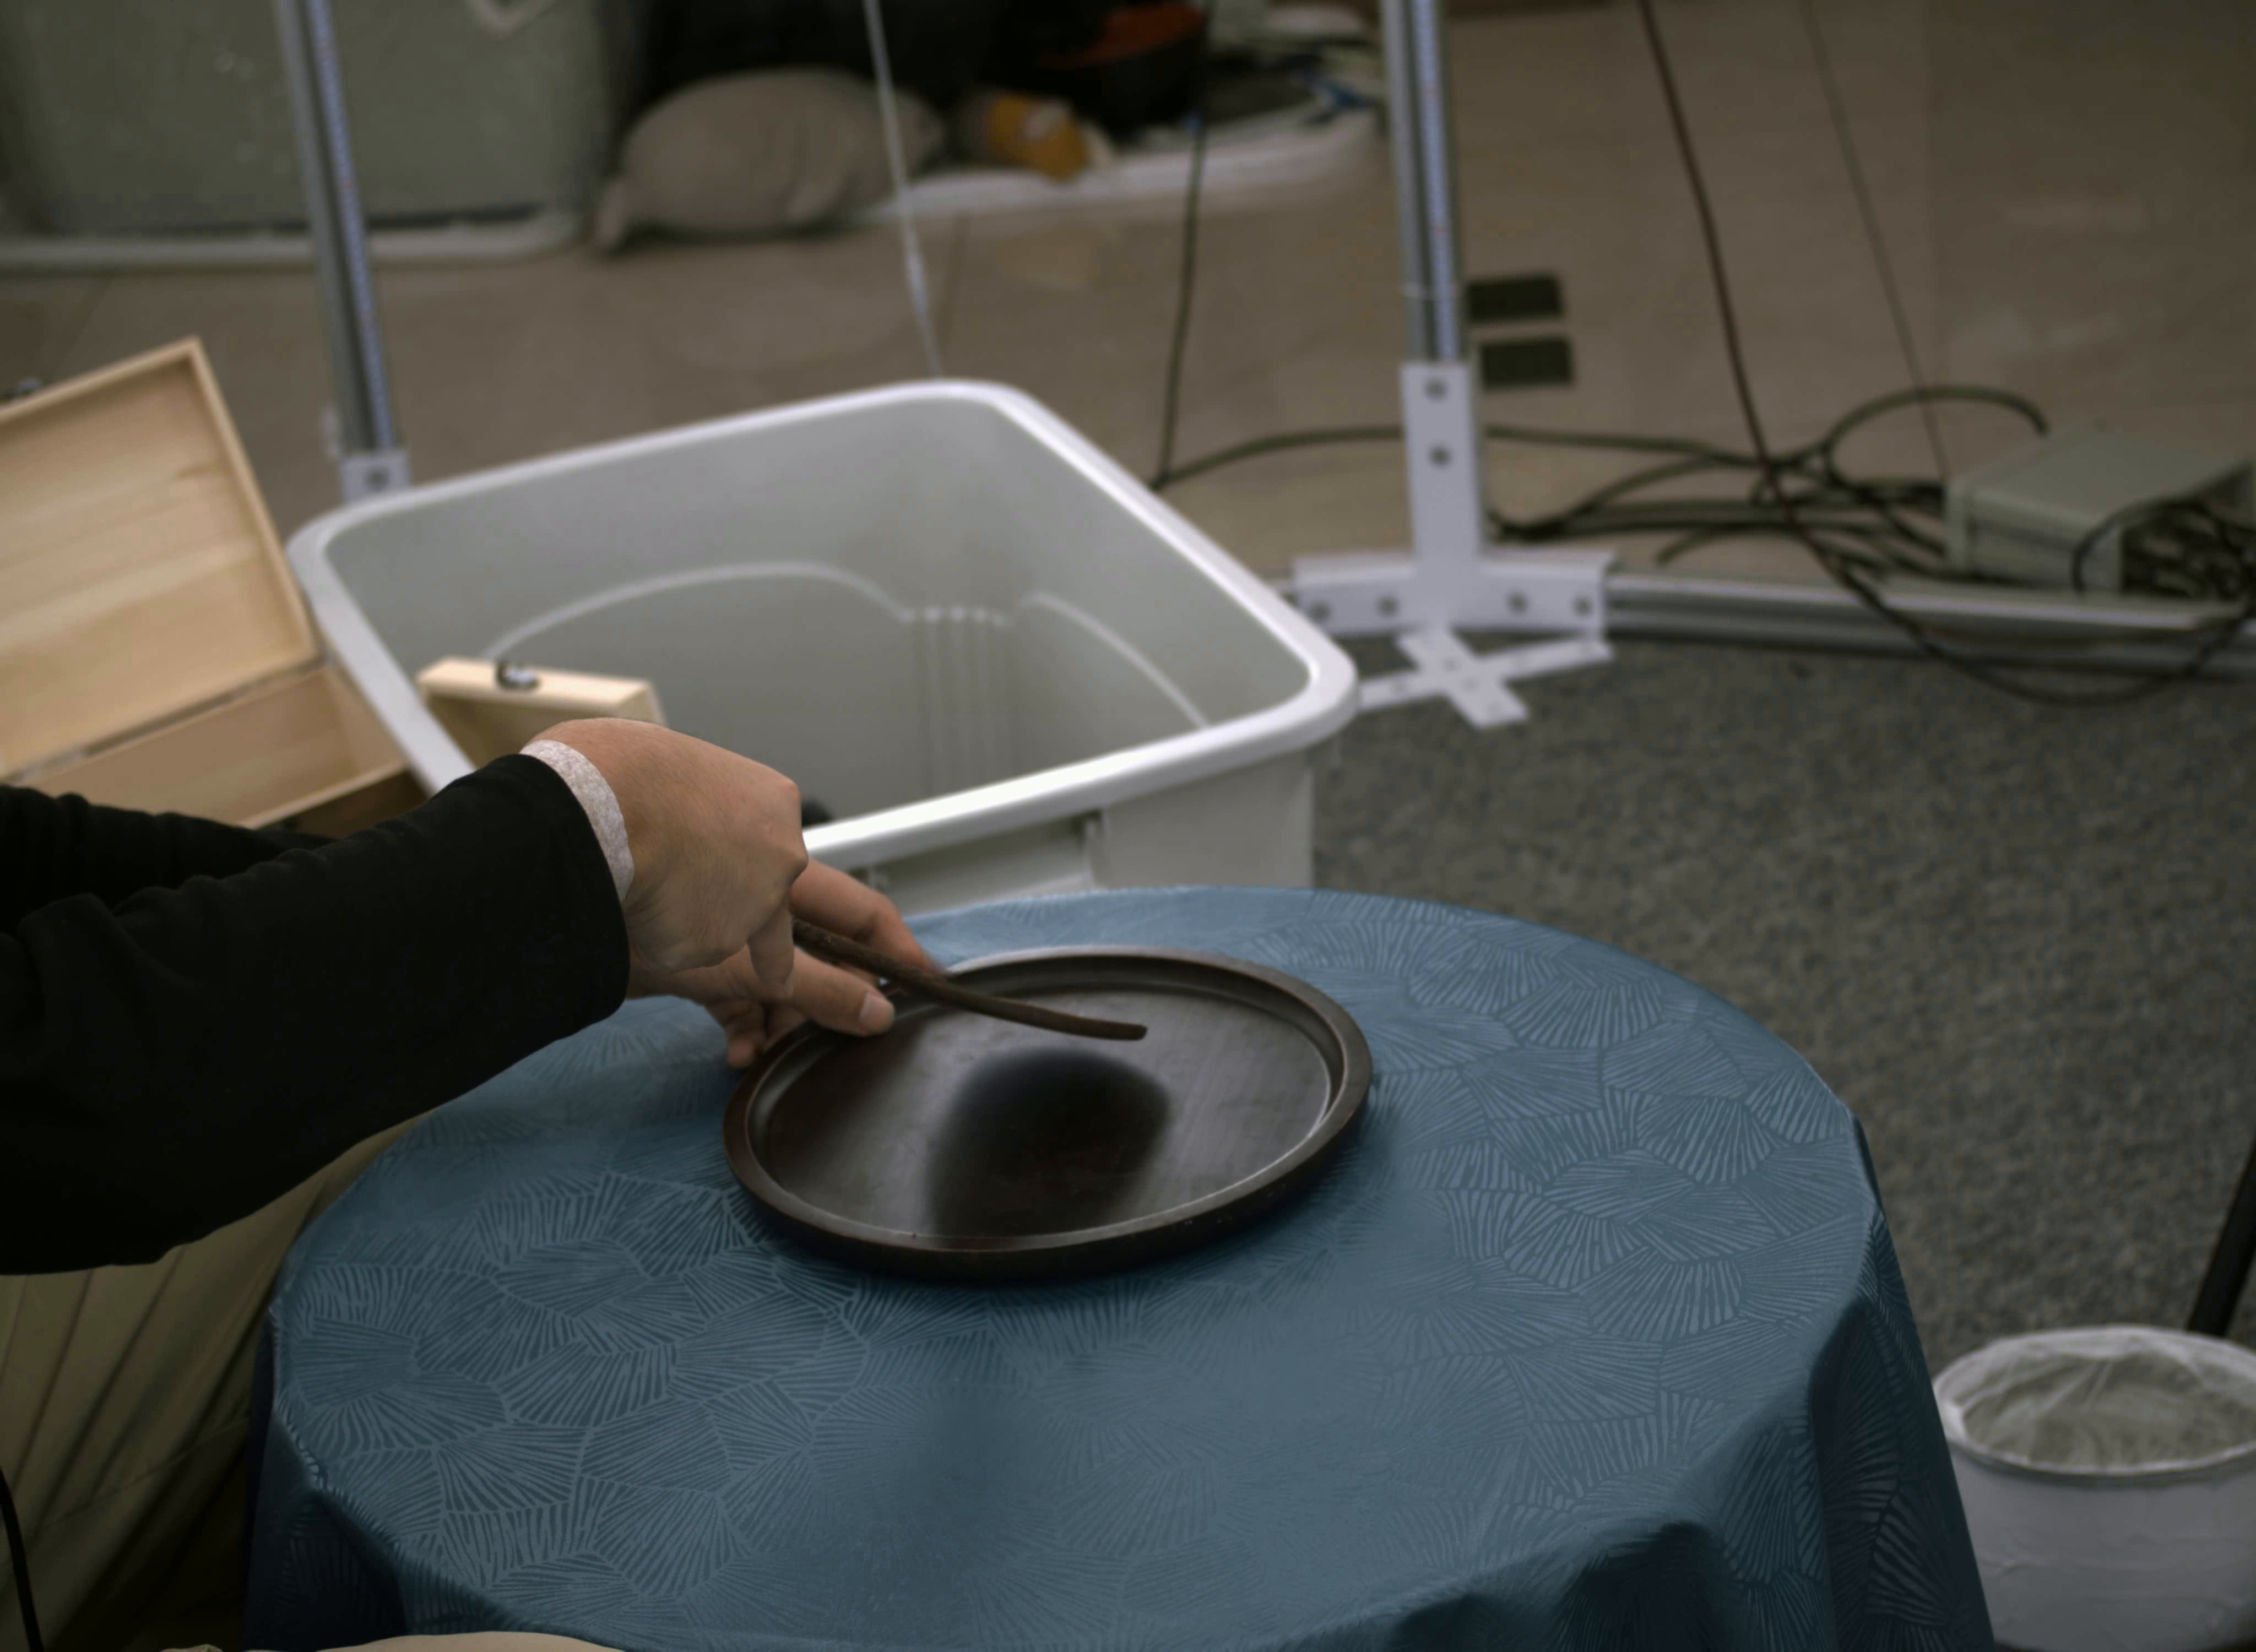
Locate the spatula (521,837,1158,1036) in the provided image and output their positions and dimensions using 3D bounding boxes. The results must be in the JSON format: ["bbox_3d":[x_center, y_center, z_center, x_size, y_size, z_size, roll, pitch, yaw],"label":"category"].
[{"bbox_3d":[-0.109,0.042,2.072,0.095,0.016,0.388,11,-6,29],"label":"spatula"}]

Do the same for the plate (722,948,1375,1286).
[{"bbox_3d":[-0.030,0.110,2.188,0.254,0.029,0.251,-5,27,3],"label":"plate"}]
